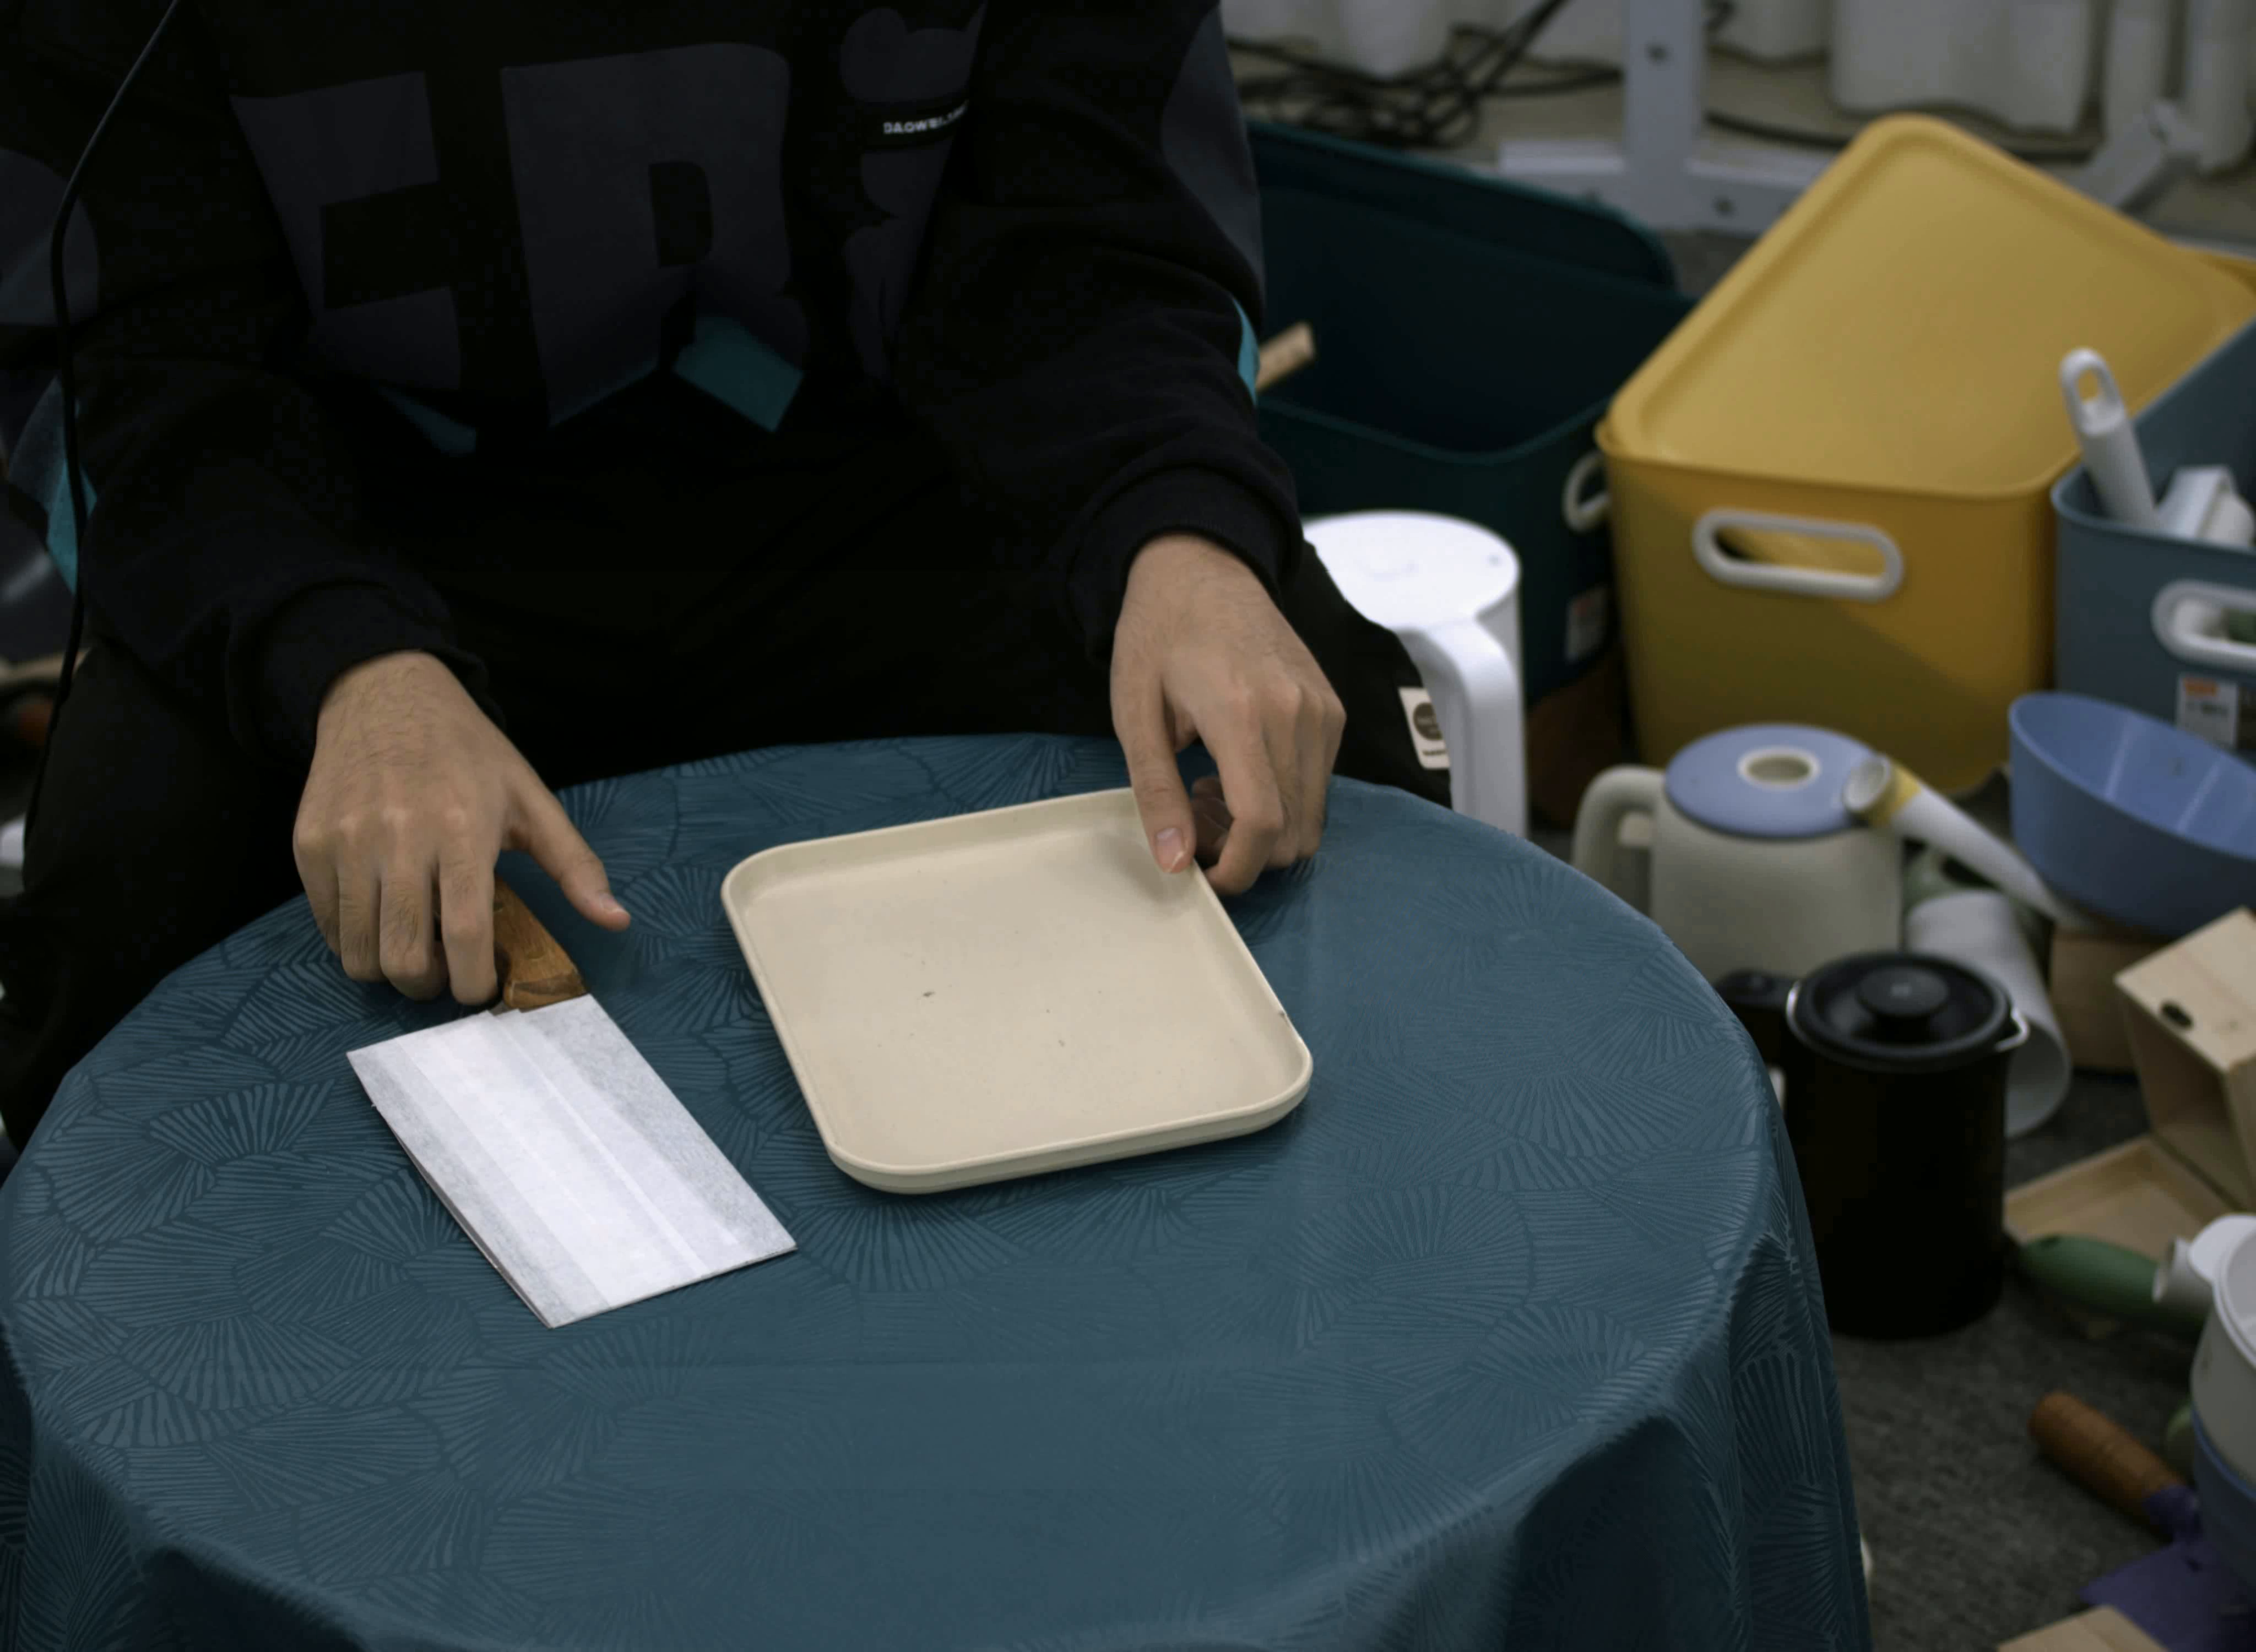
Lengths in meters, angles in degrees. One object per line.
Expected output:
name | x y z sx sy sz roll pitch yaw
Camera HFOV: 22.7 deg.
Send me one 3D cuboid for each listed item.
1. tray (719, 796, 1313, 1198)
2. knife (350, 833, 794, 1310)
tray | -0.042 0.058 1.967 0.171 0.017 0.242 -10 28 -12
knife | -0.214 0.084 1.939 0.093 0.021 0.308 -17 33 -21
